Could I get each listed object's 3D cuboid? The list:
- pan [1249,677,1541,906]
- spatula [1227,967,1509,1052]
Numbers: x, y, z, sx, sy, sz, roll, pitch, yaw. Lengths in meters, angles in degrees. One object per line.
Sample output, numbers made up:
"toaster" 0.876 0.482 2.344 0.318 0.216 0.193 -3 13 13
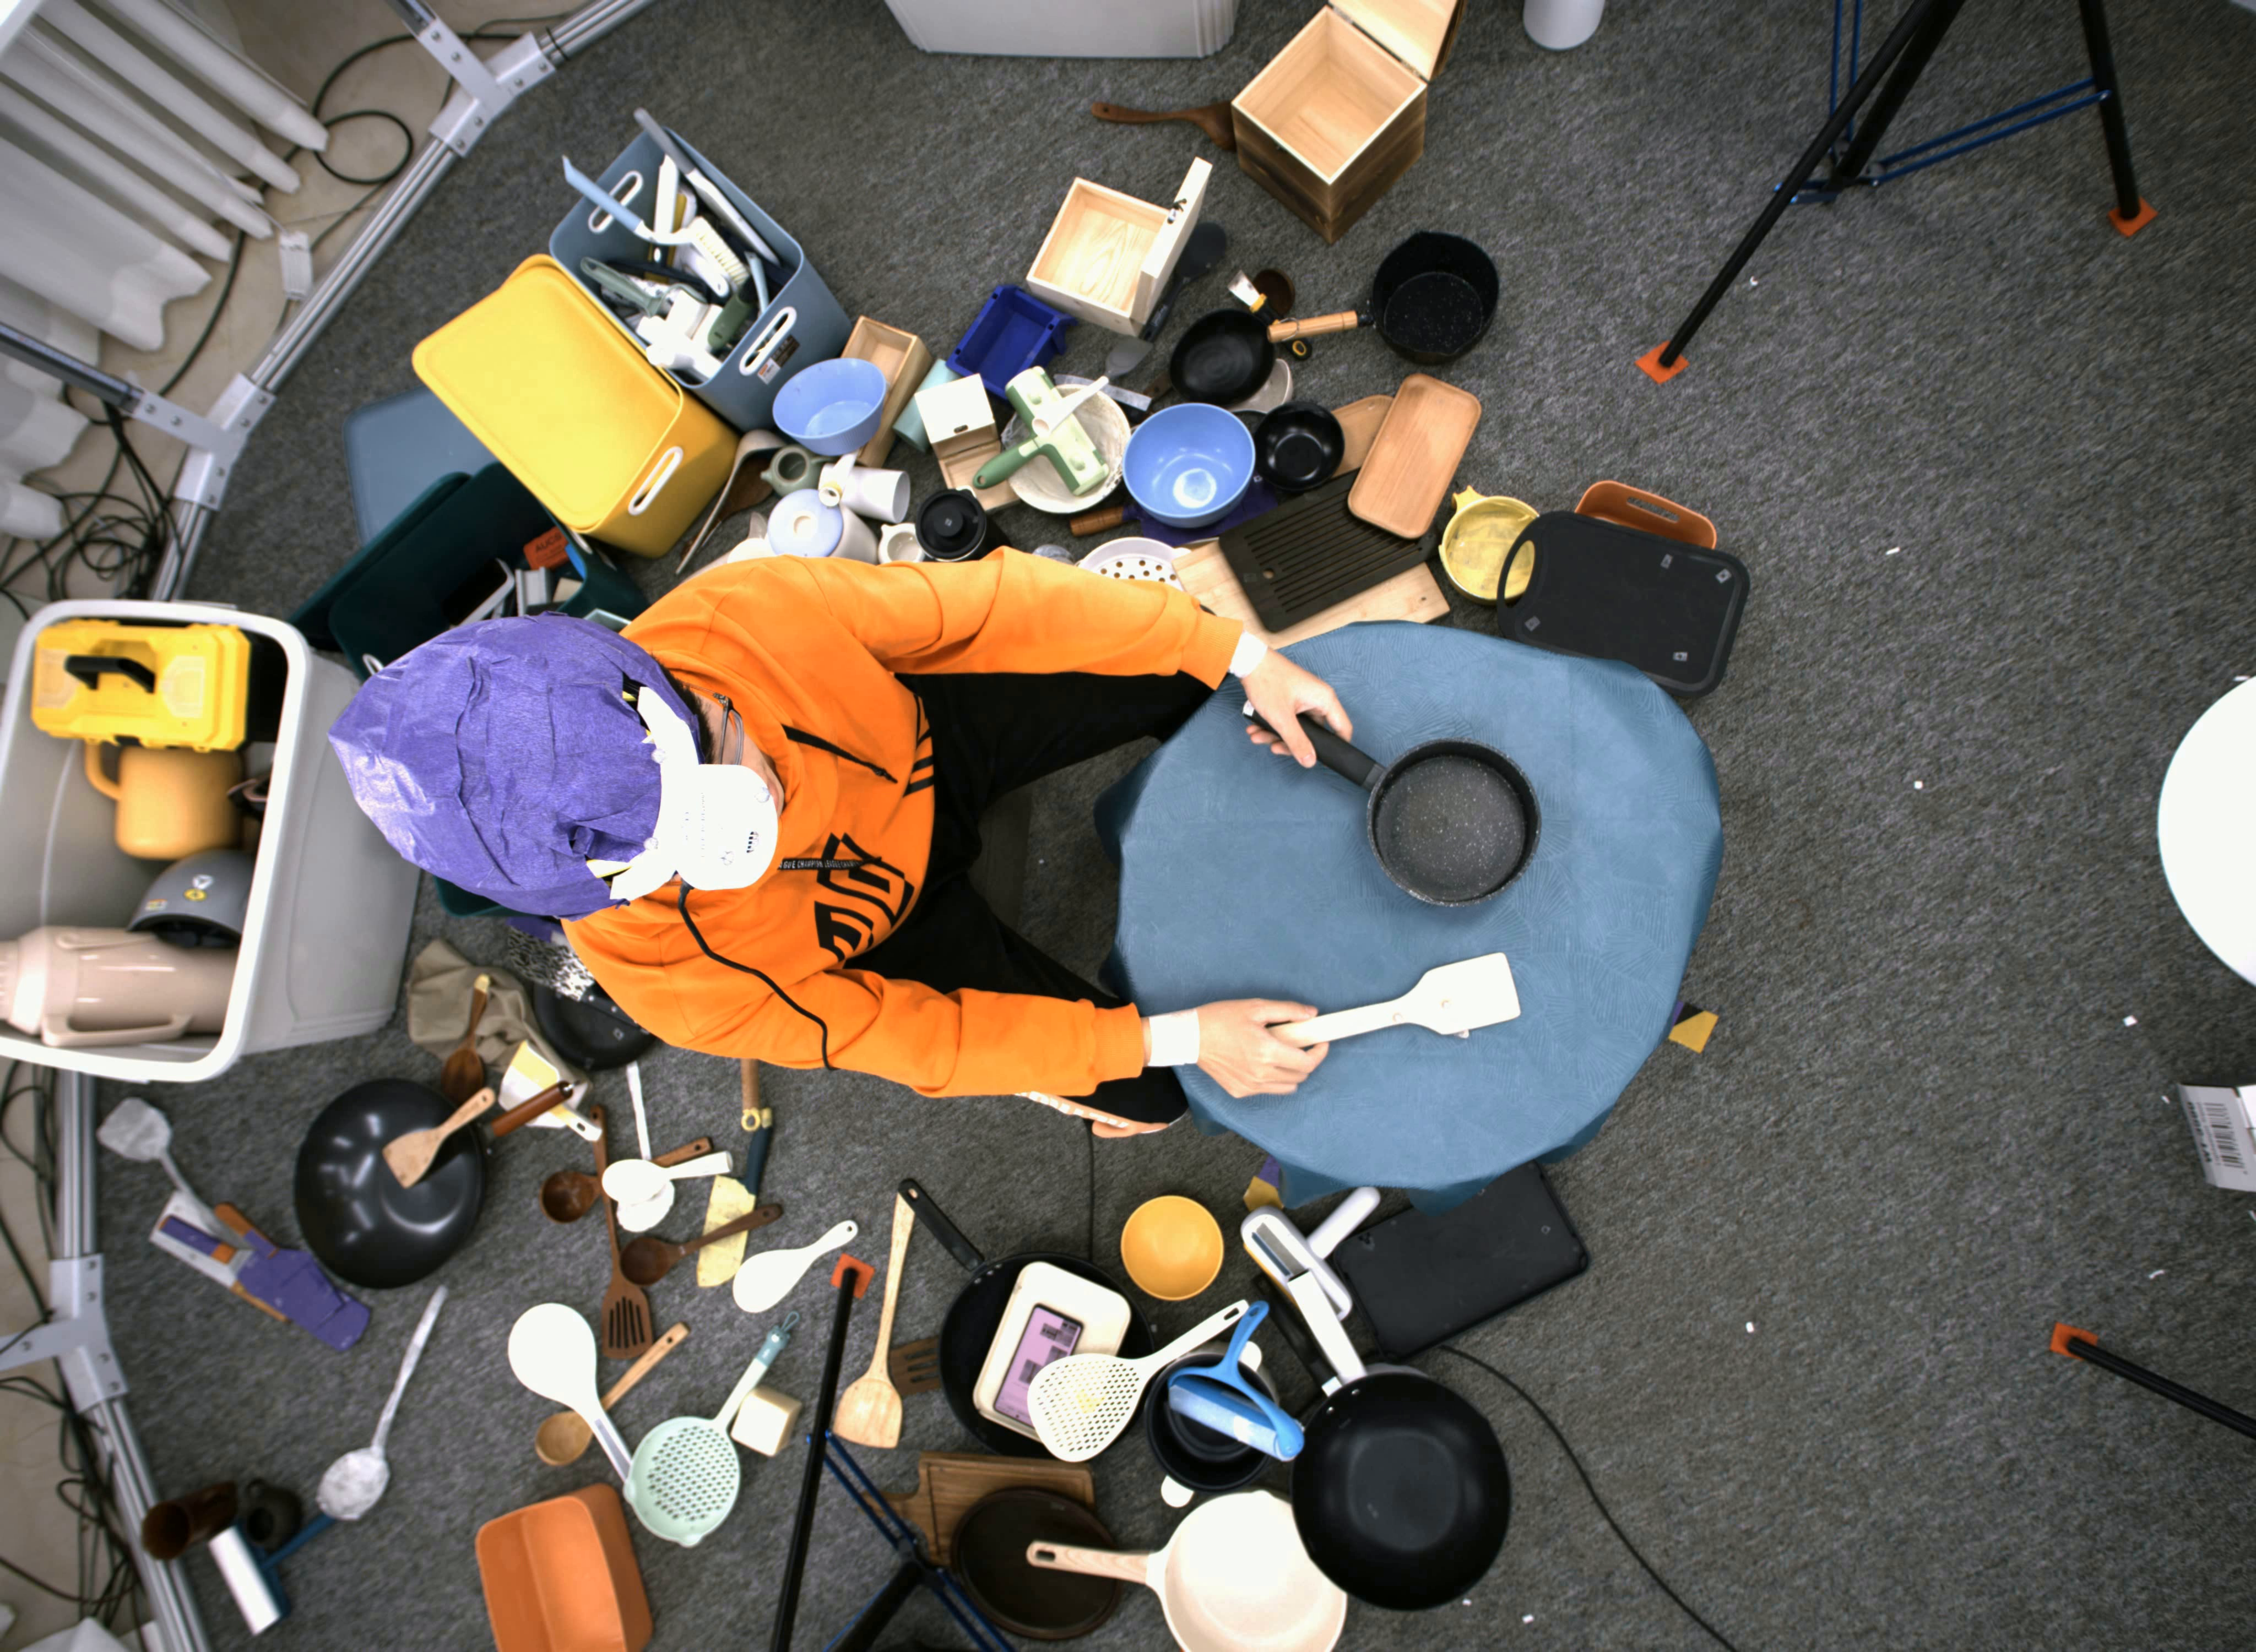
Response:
"pan" 0.267 -0.047 1.424 0.328 0.086 0.172 34 92 9
"spatula" 0.248 0.201 1.439 0.293 0.011 0.072 -9 85 1
